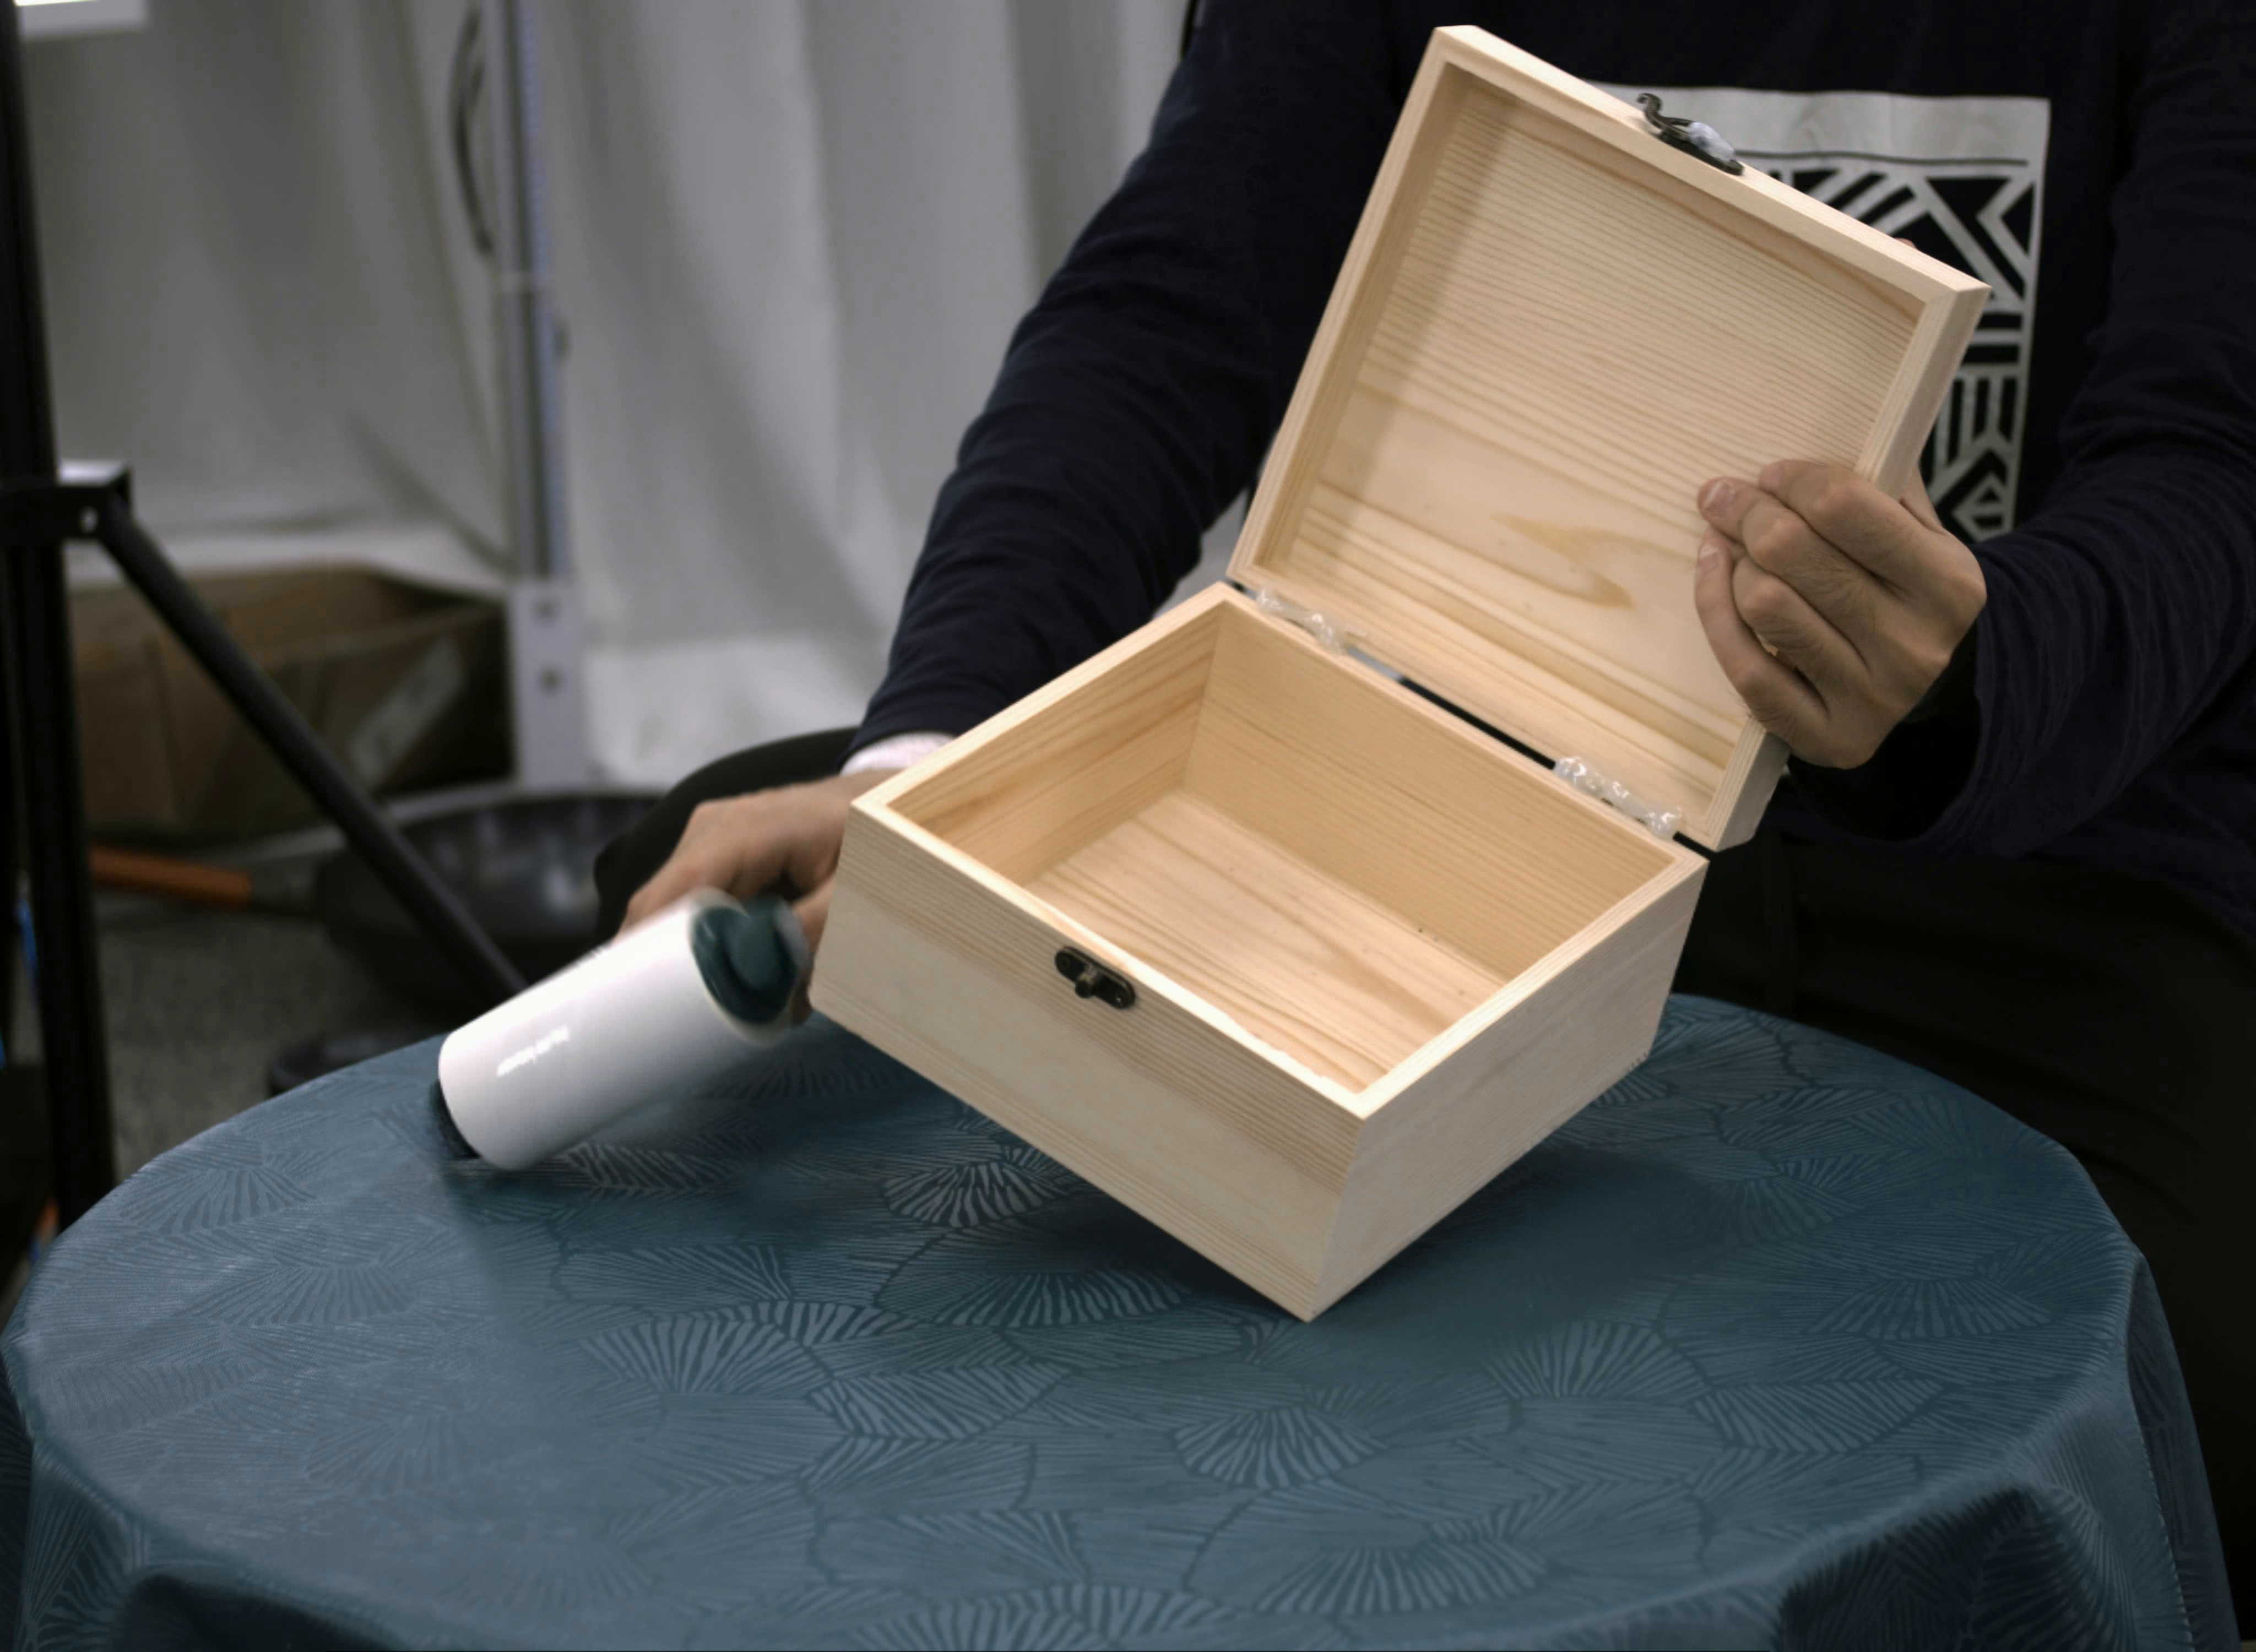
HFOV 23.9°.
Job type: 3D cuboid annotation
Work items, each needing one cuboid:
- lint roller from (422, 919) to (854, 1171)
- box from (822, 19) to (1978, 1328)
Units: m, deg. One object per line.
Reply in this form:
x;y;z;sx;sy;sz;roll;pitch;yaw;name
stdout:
-0.128;0.047;1.639;0.136;0.048;0.178;-22;8;26;lint roller
0.074;-0.051;1.506;0.185;0.253;0.260;29;38;25;box
